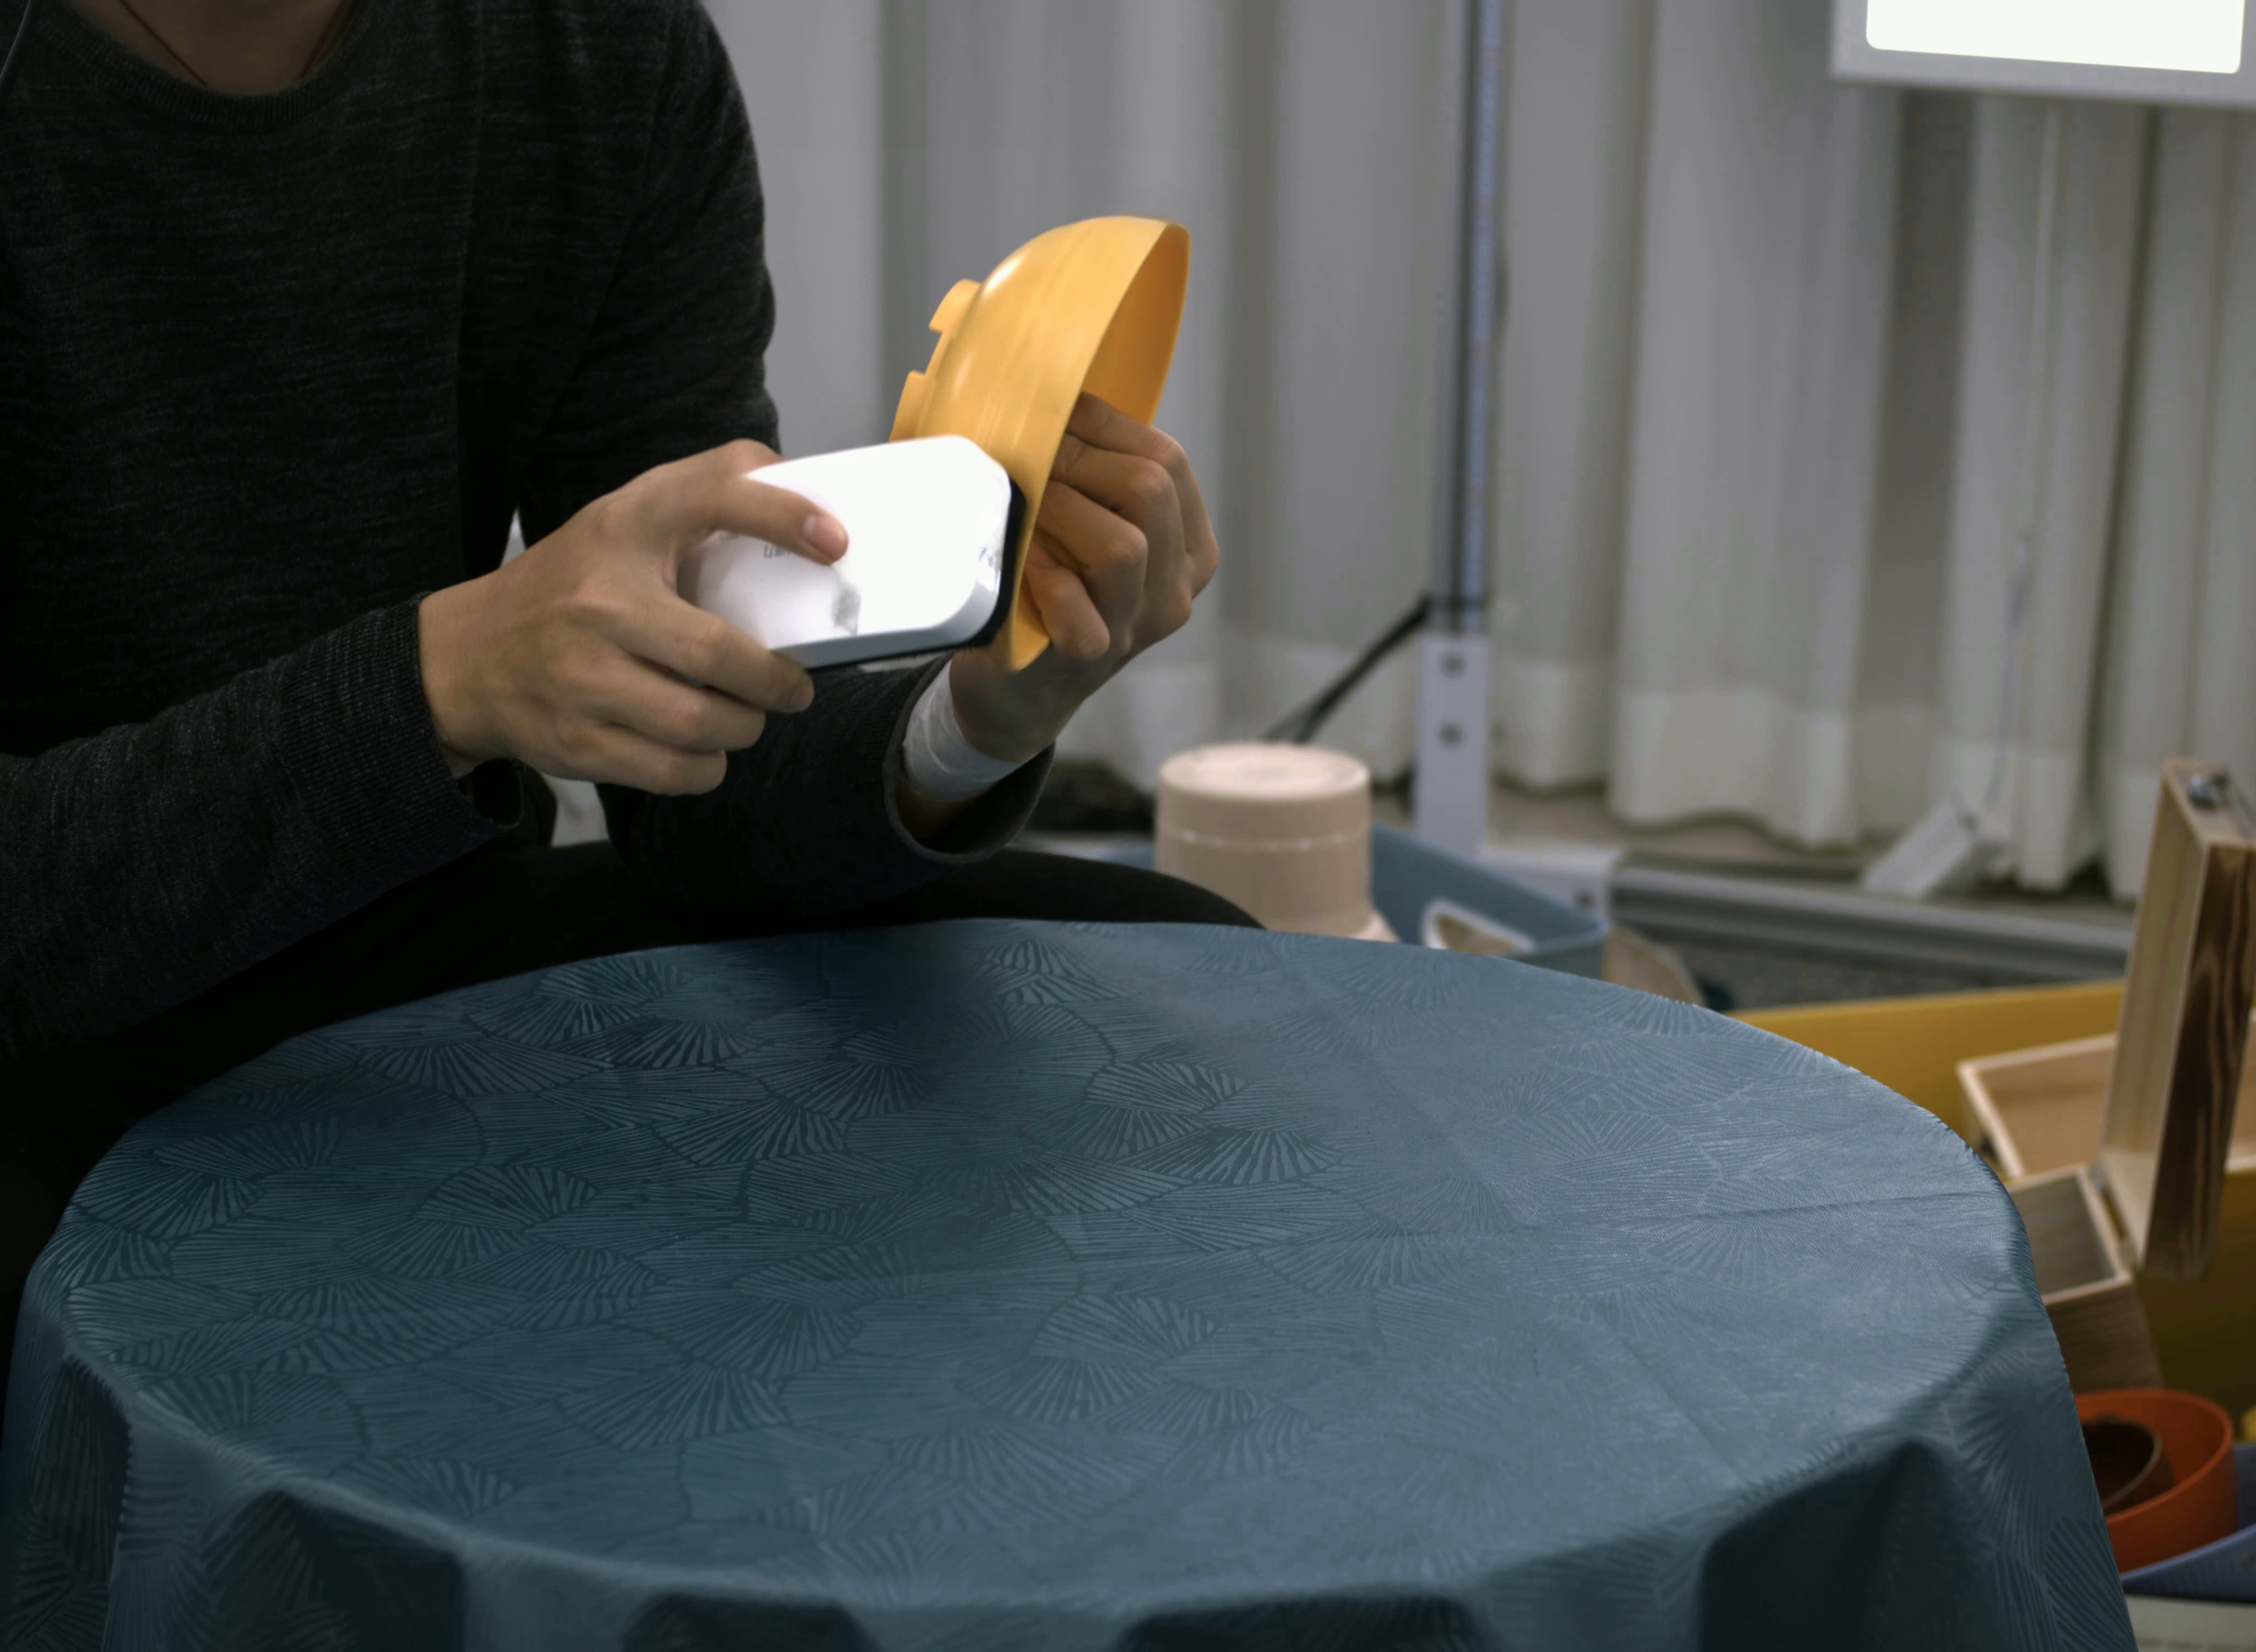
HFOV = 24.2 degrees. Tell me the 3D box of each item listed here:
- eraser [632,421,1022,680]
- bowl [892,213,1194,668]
[{"bbox_3d":[-0.091,-0.081,1.551,0.130,0.063,0.035,-8,-23,36],"label":"eraser"},{"bbox_3d":[-0.034,-0.126,1.605,0.060,0.146,0.145,20,19,9],"label":"bowl"}]
